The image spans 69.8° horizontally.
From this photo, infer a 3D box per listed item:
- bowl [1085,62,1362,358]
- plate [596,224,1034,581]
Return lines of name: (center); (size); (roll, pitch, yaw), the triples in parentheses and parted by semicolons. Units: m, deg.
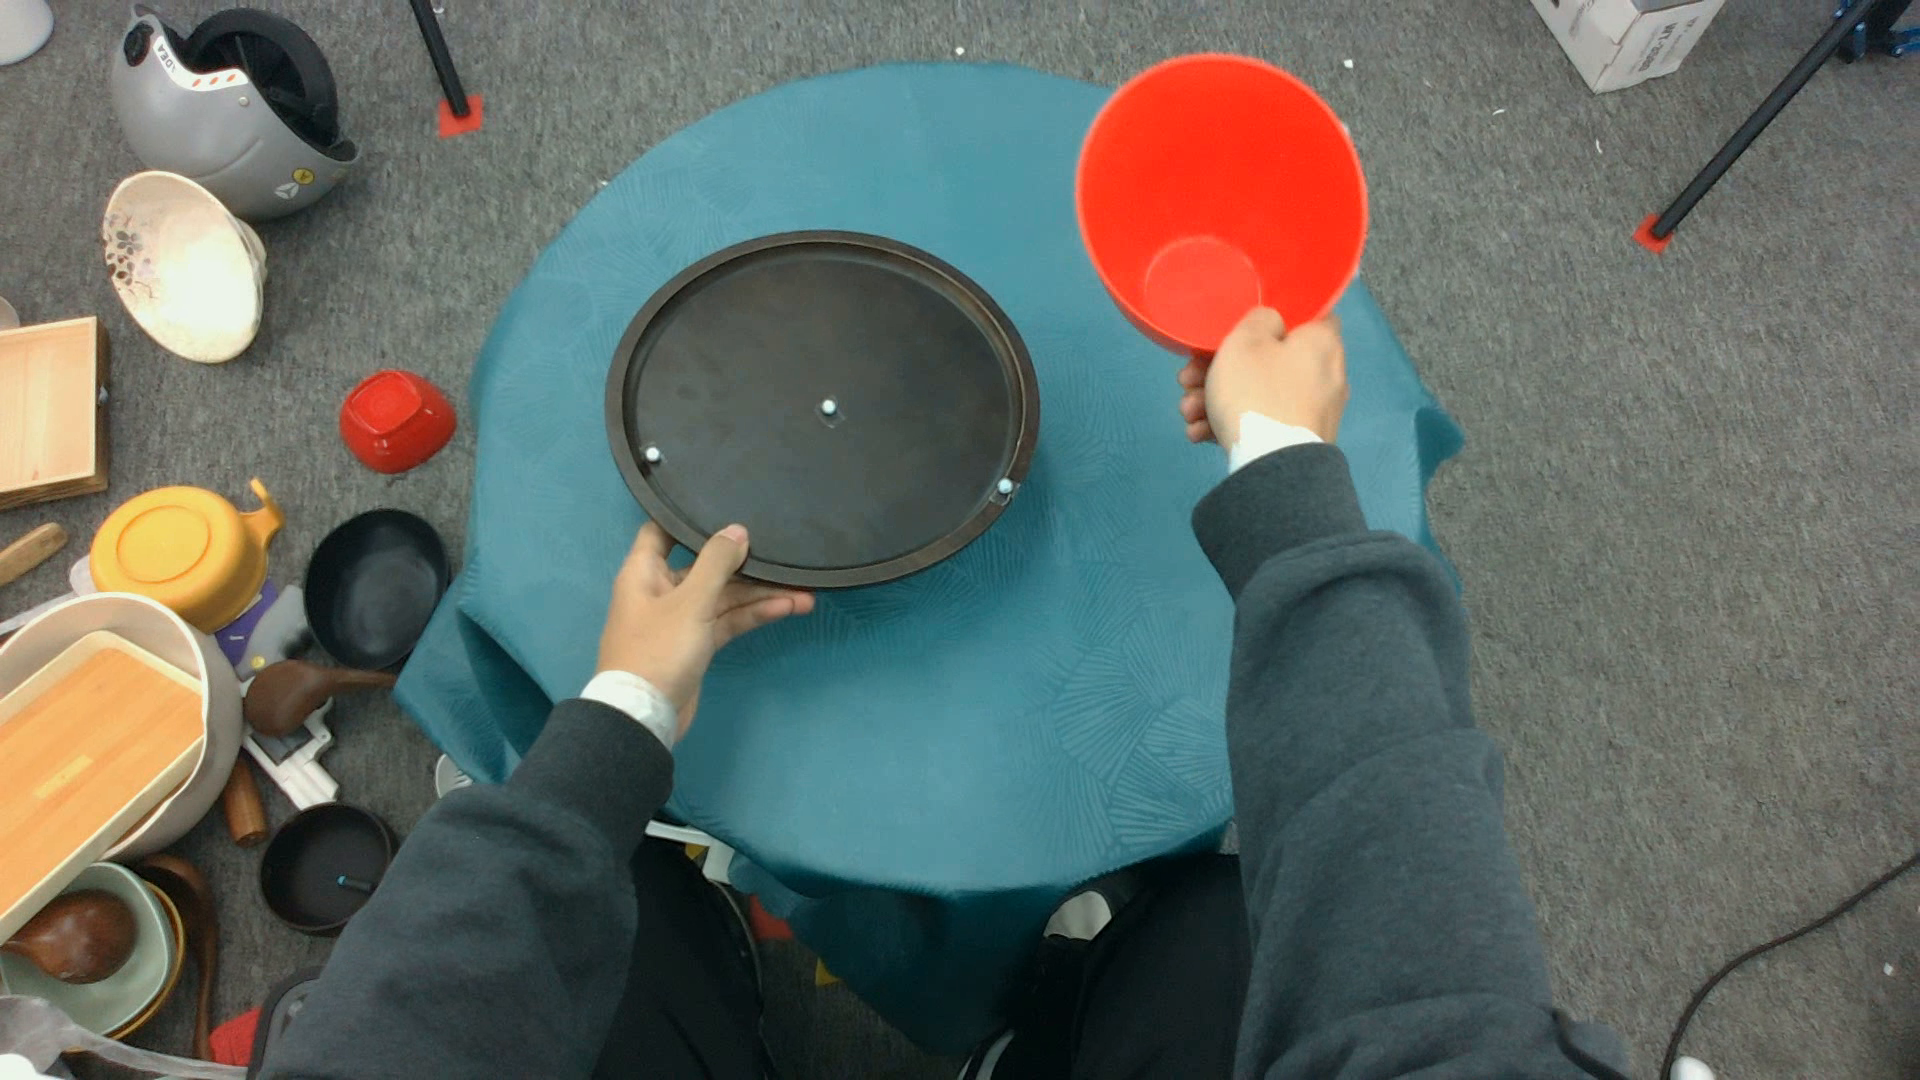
bowl: (0.131, -0.162, 0.736); (0.148, 0.104, 0.148); (2, 74, -5)
plate: (-0.083, -0.086, 0.808); (0.255, 0.029, 0.256); (3, 60, -6)
